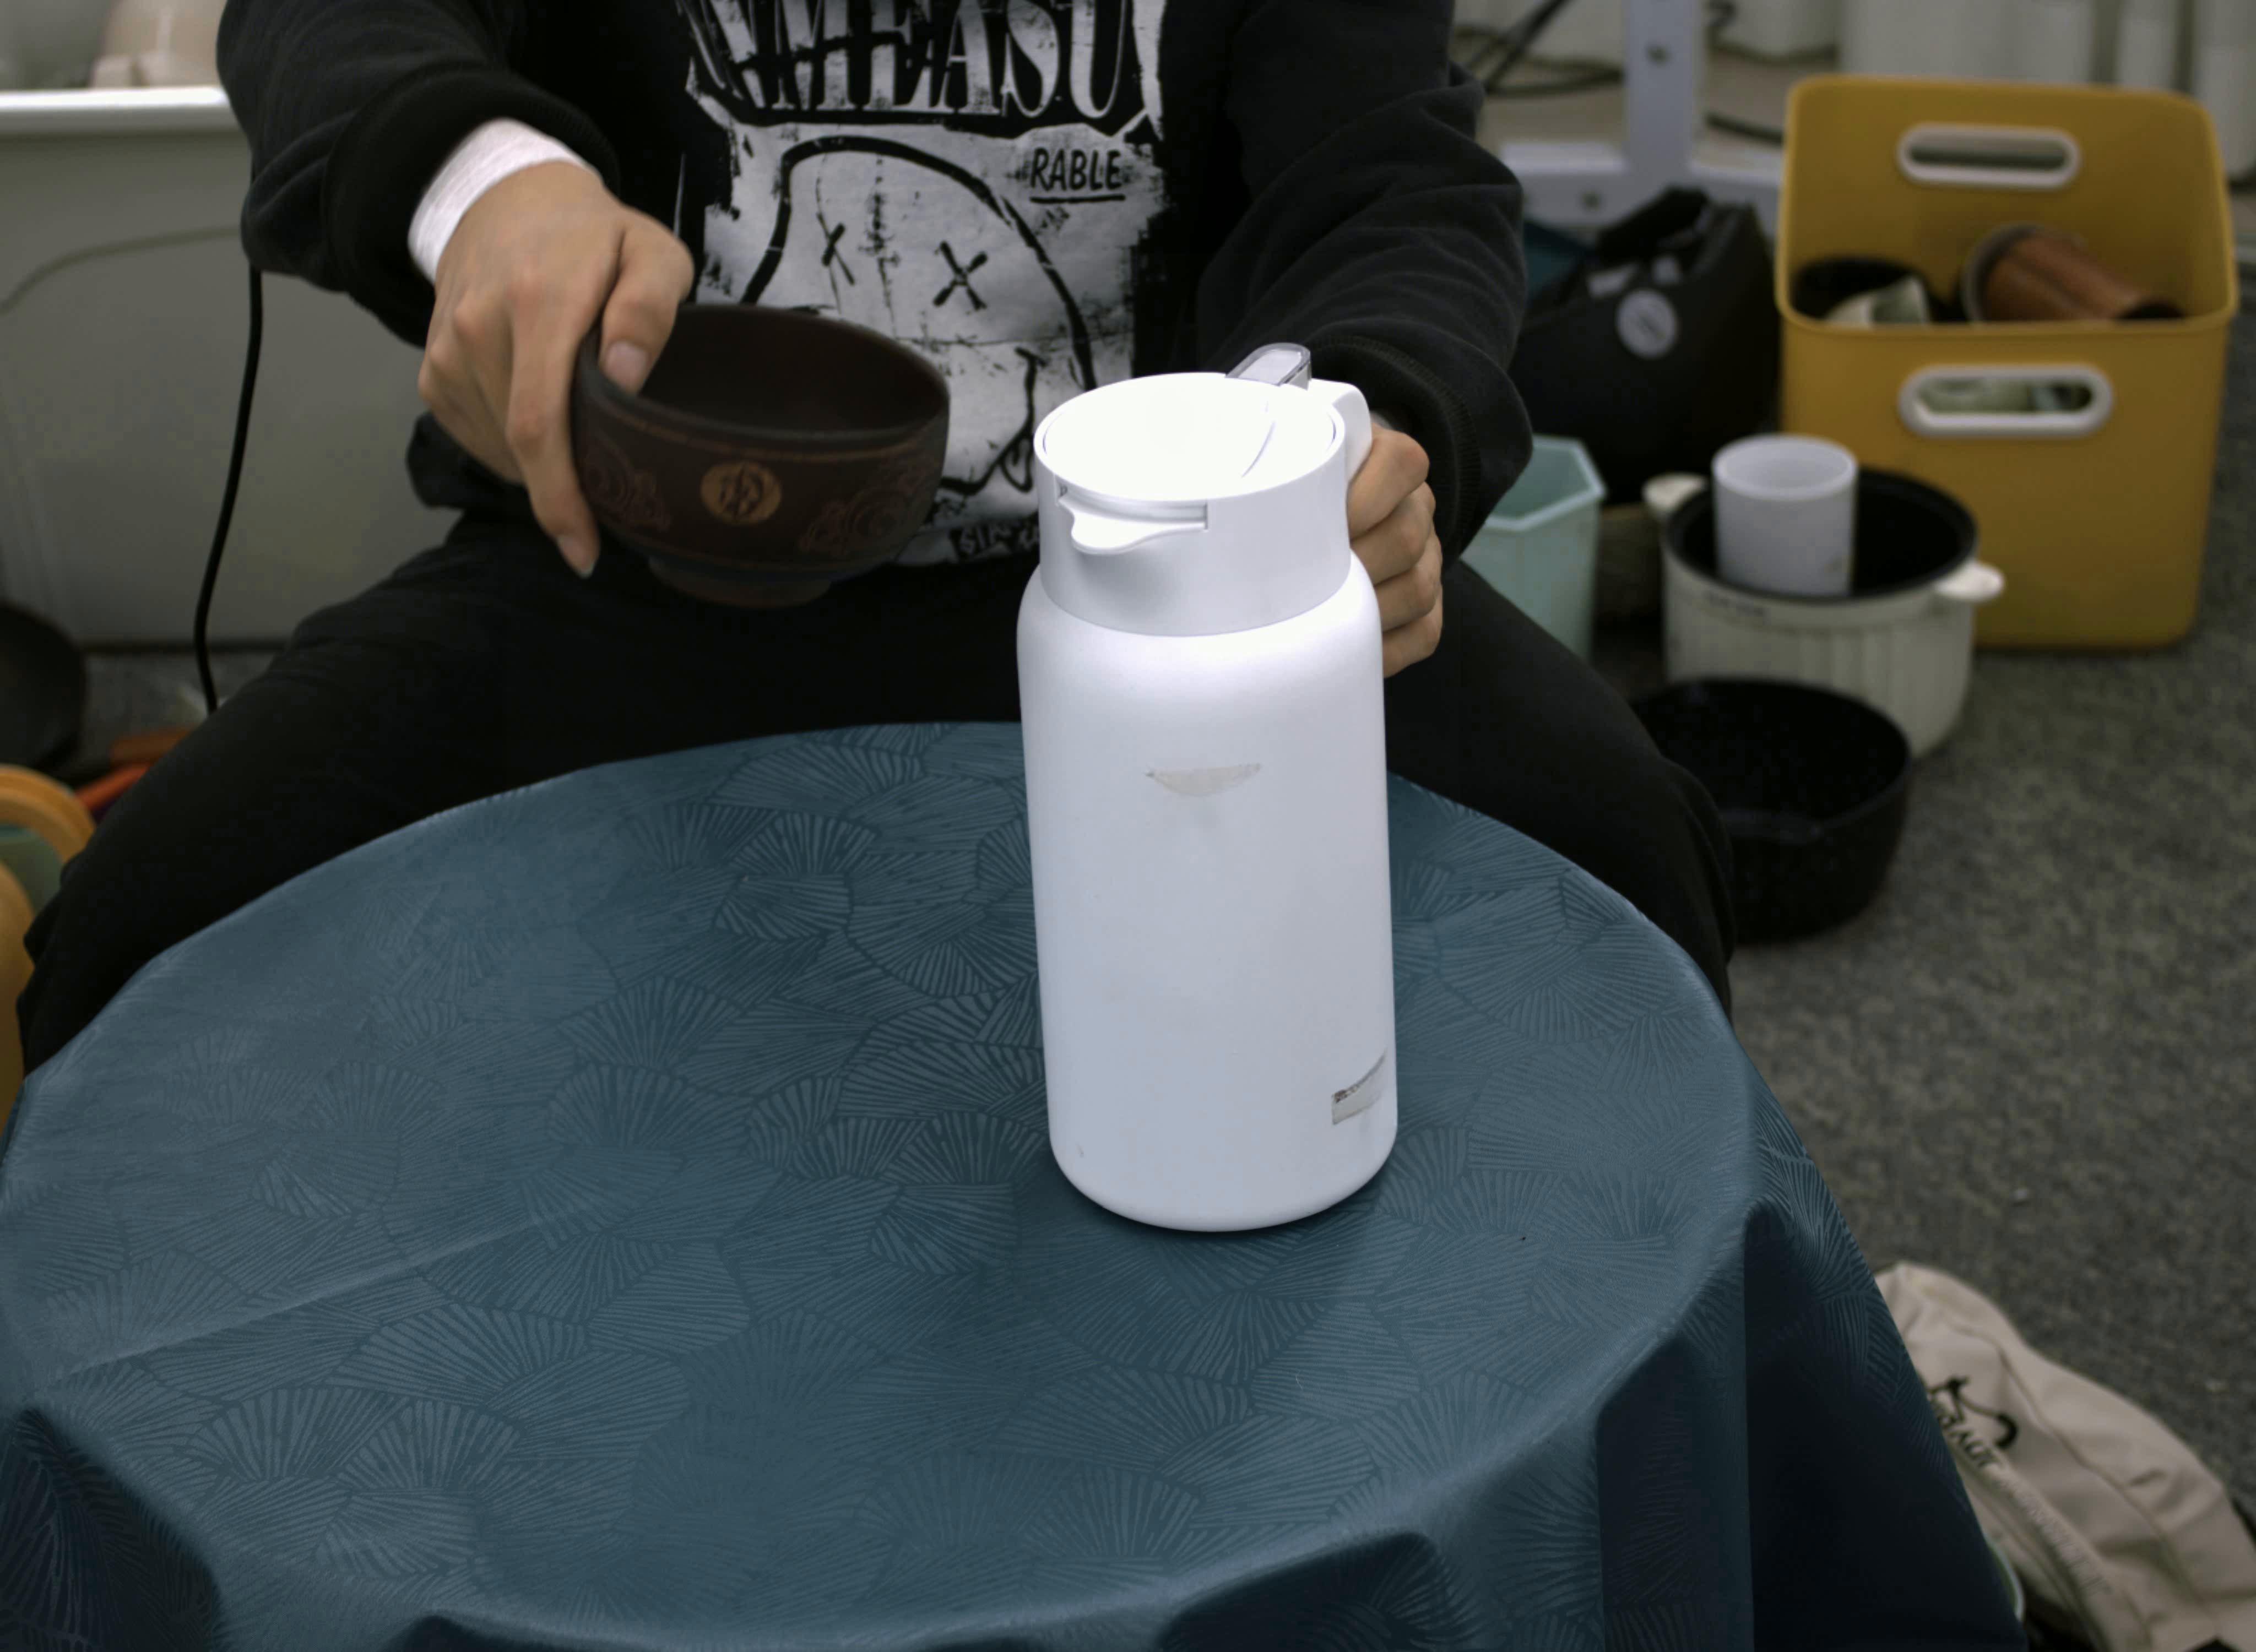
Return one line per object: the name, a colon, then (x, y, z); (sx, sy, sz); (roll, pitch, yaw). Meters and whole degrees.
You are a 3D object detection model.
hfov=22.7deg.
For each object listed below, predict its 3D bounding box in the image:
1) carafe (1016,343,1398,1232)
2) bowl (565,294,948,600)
carafe: (0.032, -0.016, 1.836); (0.123, 0.266, 0.176); (7, 28, 25)
bowl: (-0.117, -0.112, 1.744); (0.117, 0.069, 0.119); (8, 23, -3)
